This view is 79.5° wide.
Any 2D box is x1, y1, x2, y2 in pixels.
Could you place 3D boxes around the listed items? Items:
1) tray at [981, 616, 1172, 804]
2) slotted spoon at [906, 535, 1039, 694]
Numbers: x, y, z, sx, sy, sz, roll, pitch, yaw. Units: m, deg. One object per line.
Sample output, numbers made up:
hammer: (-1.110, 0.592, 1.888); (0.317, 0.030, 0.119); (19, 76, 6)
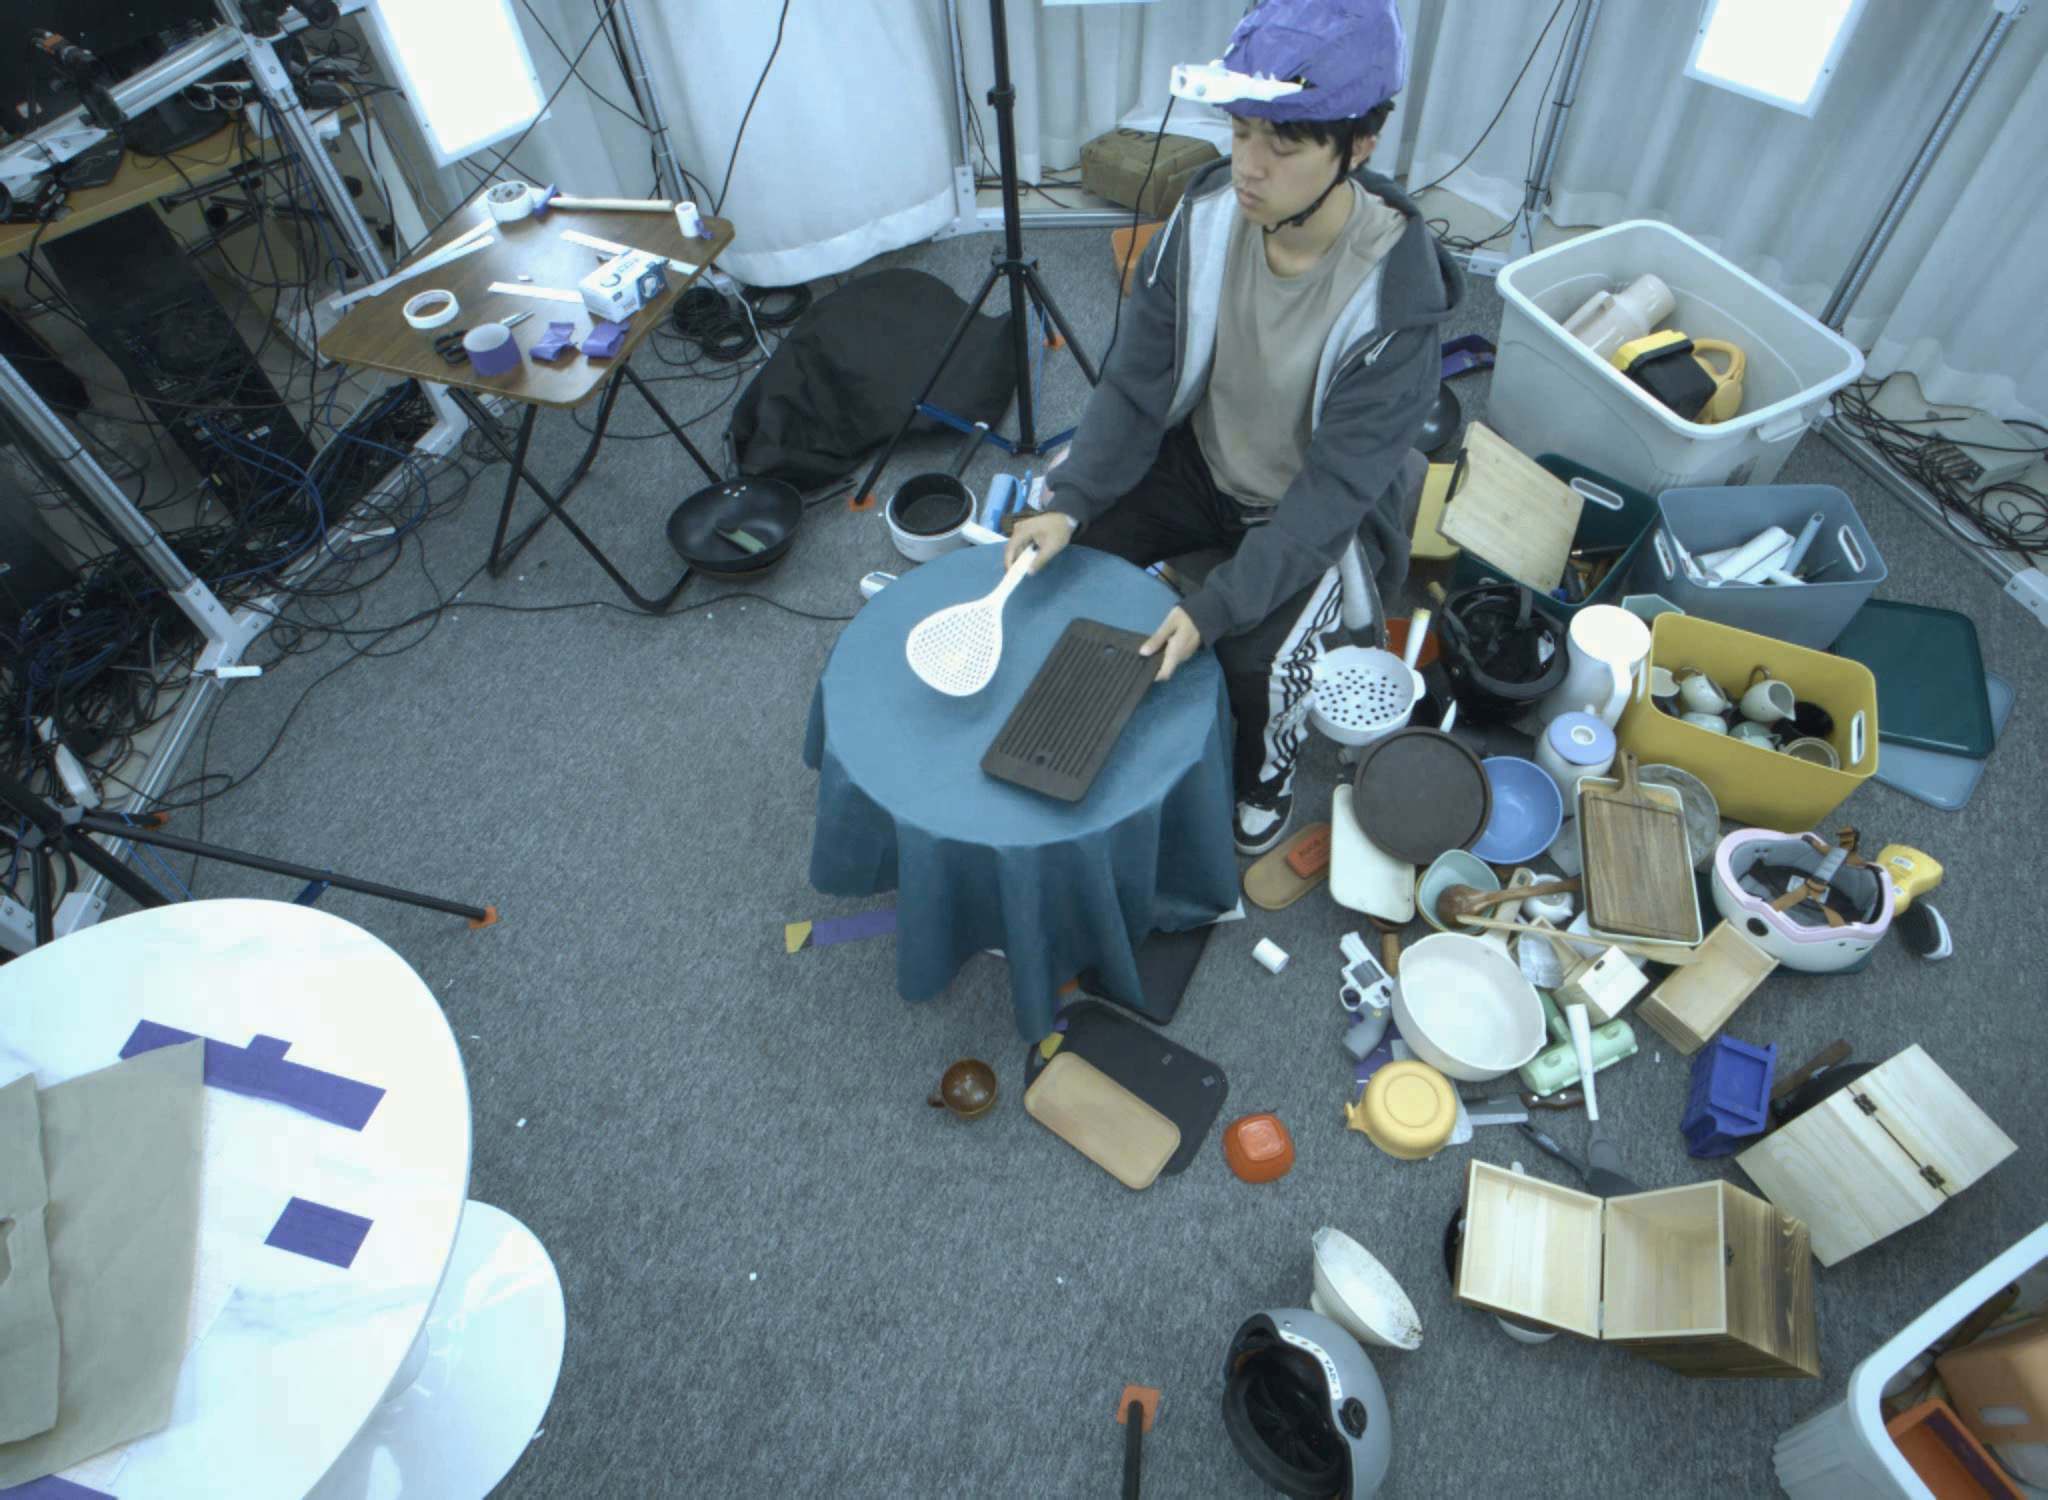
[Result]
tray: (0.079, -0.063, 1.789); (0.167, 0.019, 0.306); (19, 62, 24)
slotted spoon: (-0.054, -0.219, 1.876); (0.137, 0.050, 0.348); (33, 63, 0)
